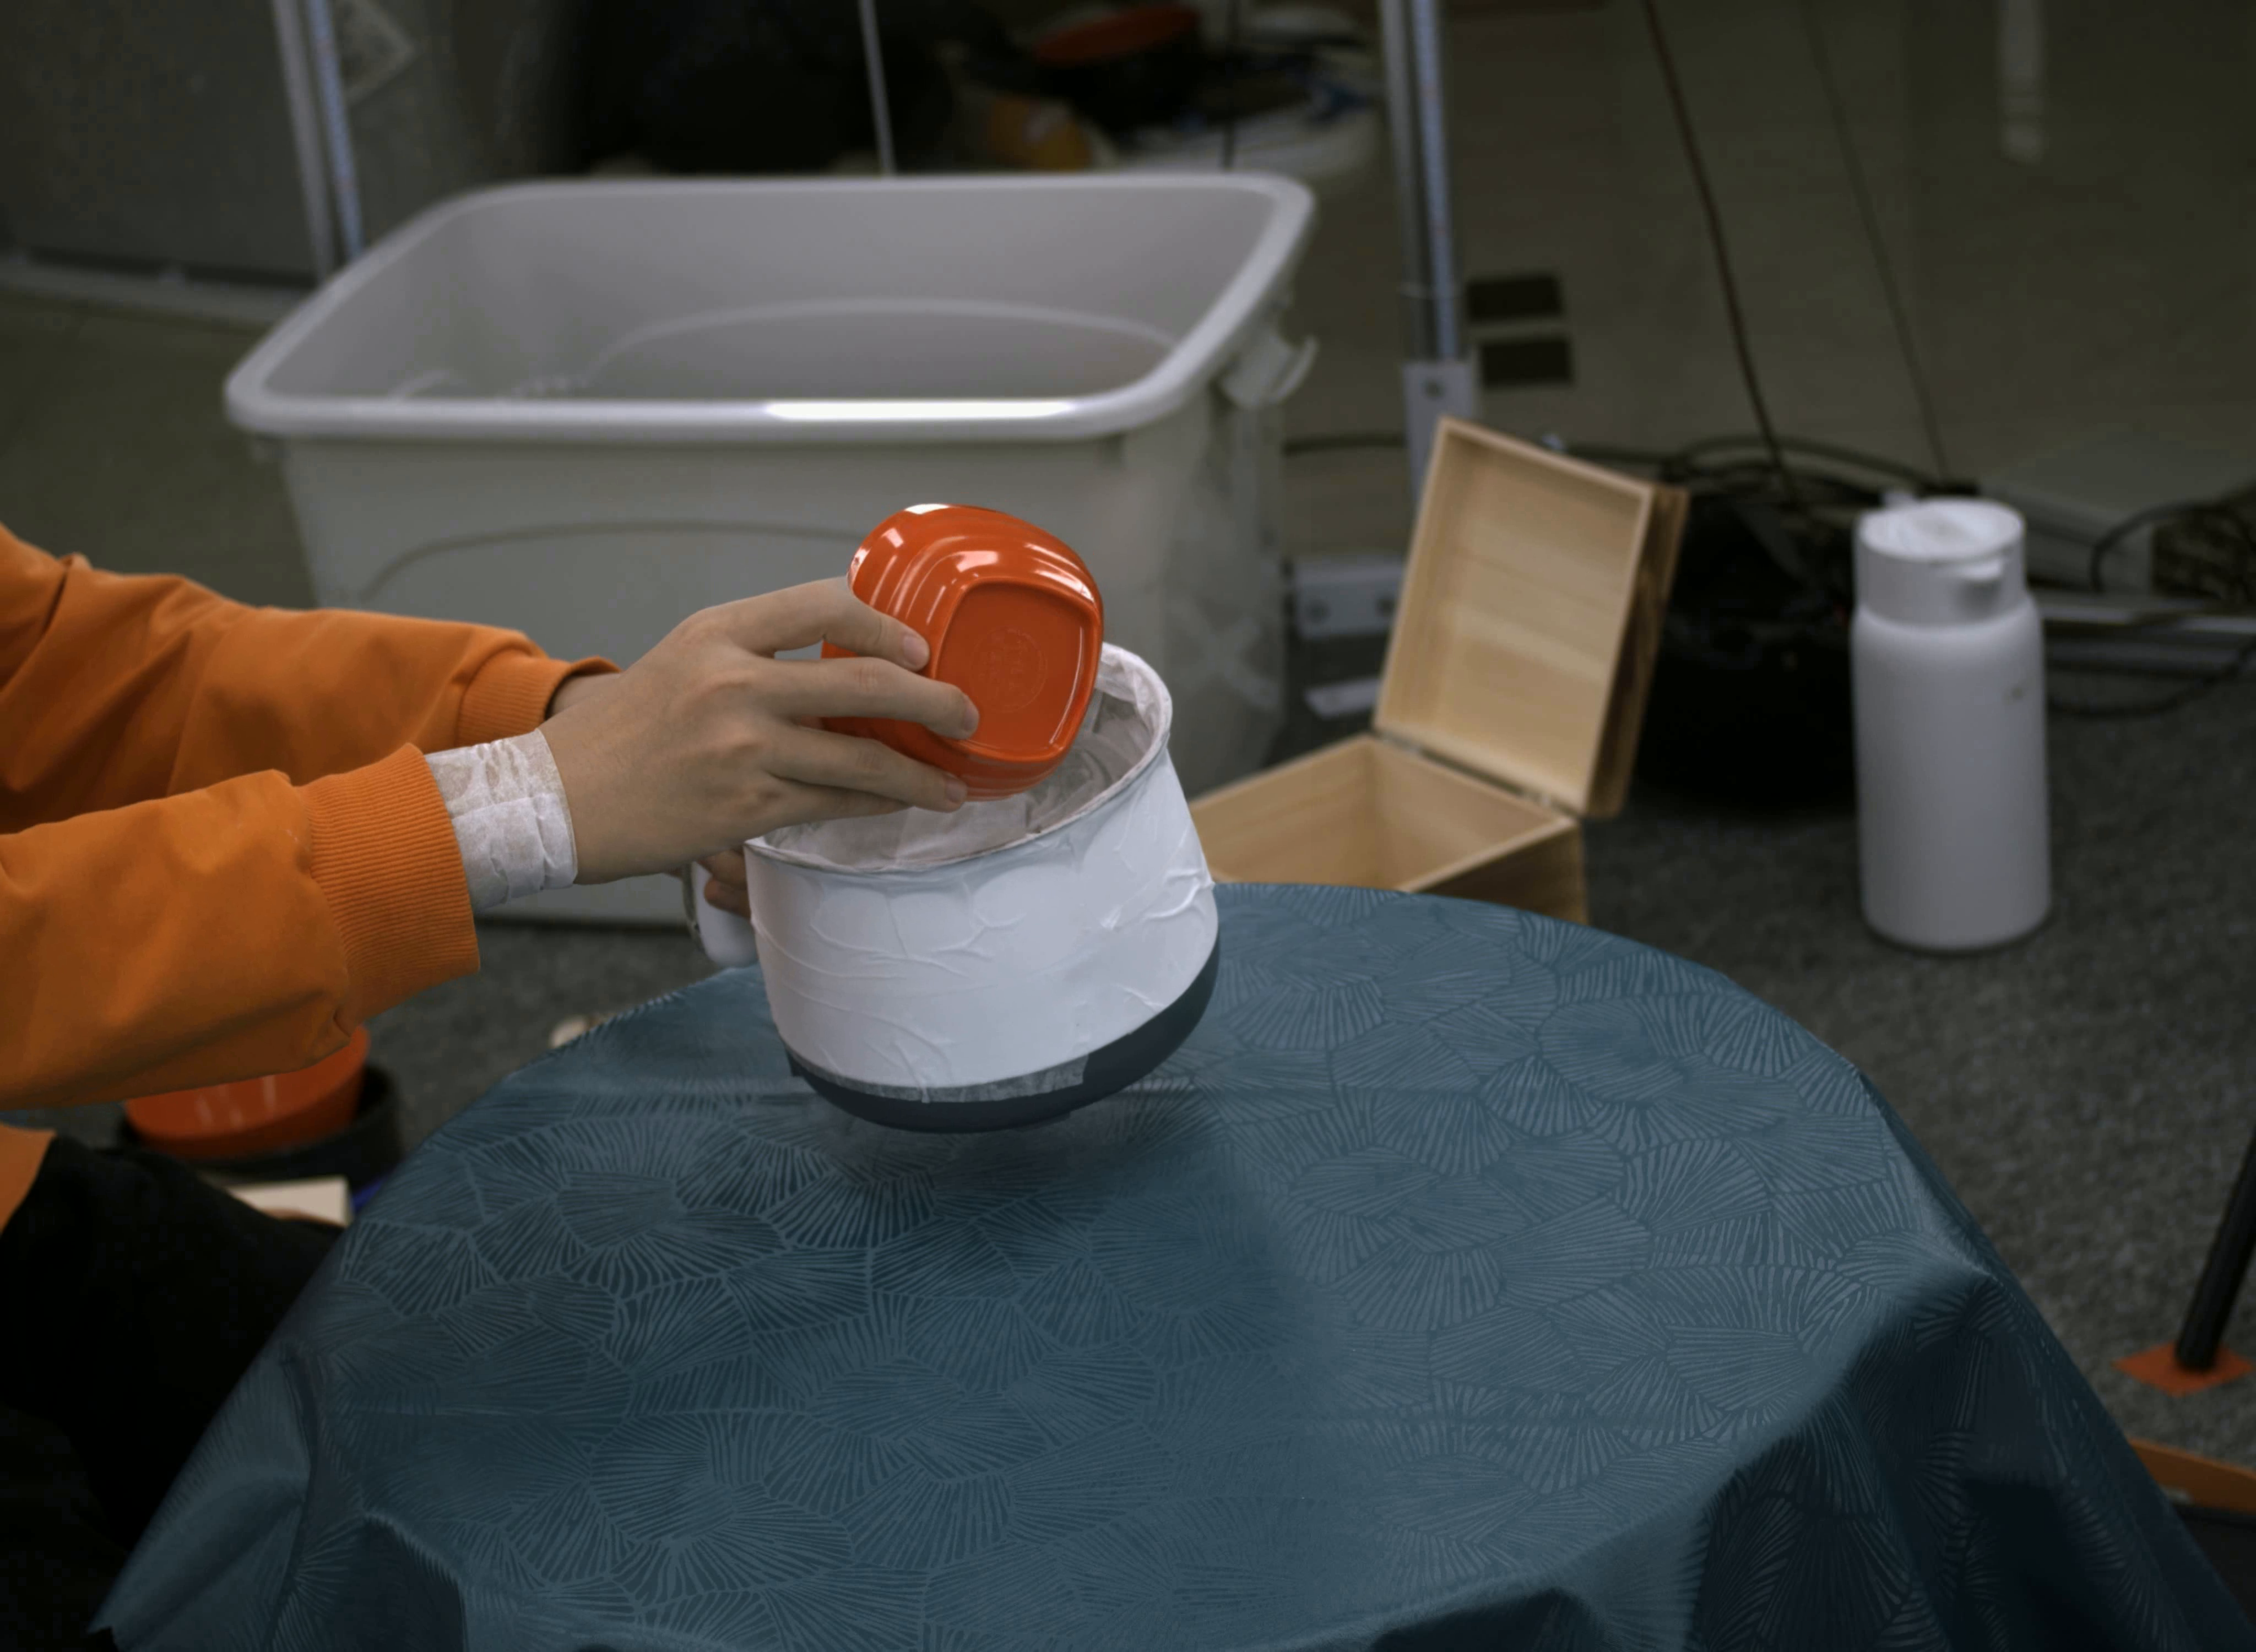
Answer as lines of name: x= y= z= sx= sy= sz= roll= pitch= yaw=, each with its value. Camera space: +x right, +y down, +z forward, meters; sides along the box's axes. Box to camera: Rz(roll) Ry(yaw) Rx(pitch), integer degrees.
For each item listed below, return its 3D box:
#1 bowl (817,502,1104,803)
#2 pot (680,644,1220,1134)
bowl: x=-0.053 y=-0.060 z=2.071 sx=0.118 sy=0.120 sz=0.051 roll=-19 pitch=20 yaw=-24
pot: x=-0.081 y=0.021 z=2.188 sx=0.232 sy=0.139 sz=0.176 roll=9 pitch=36 yaw=33
